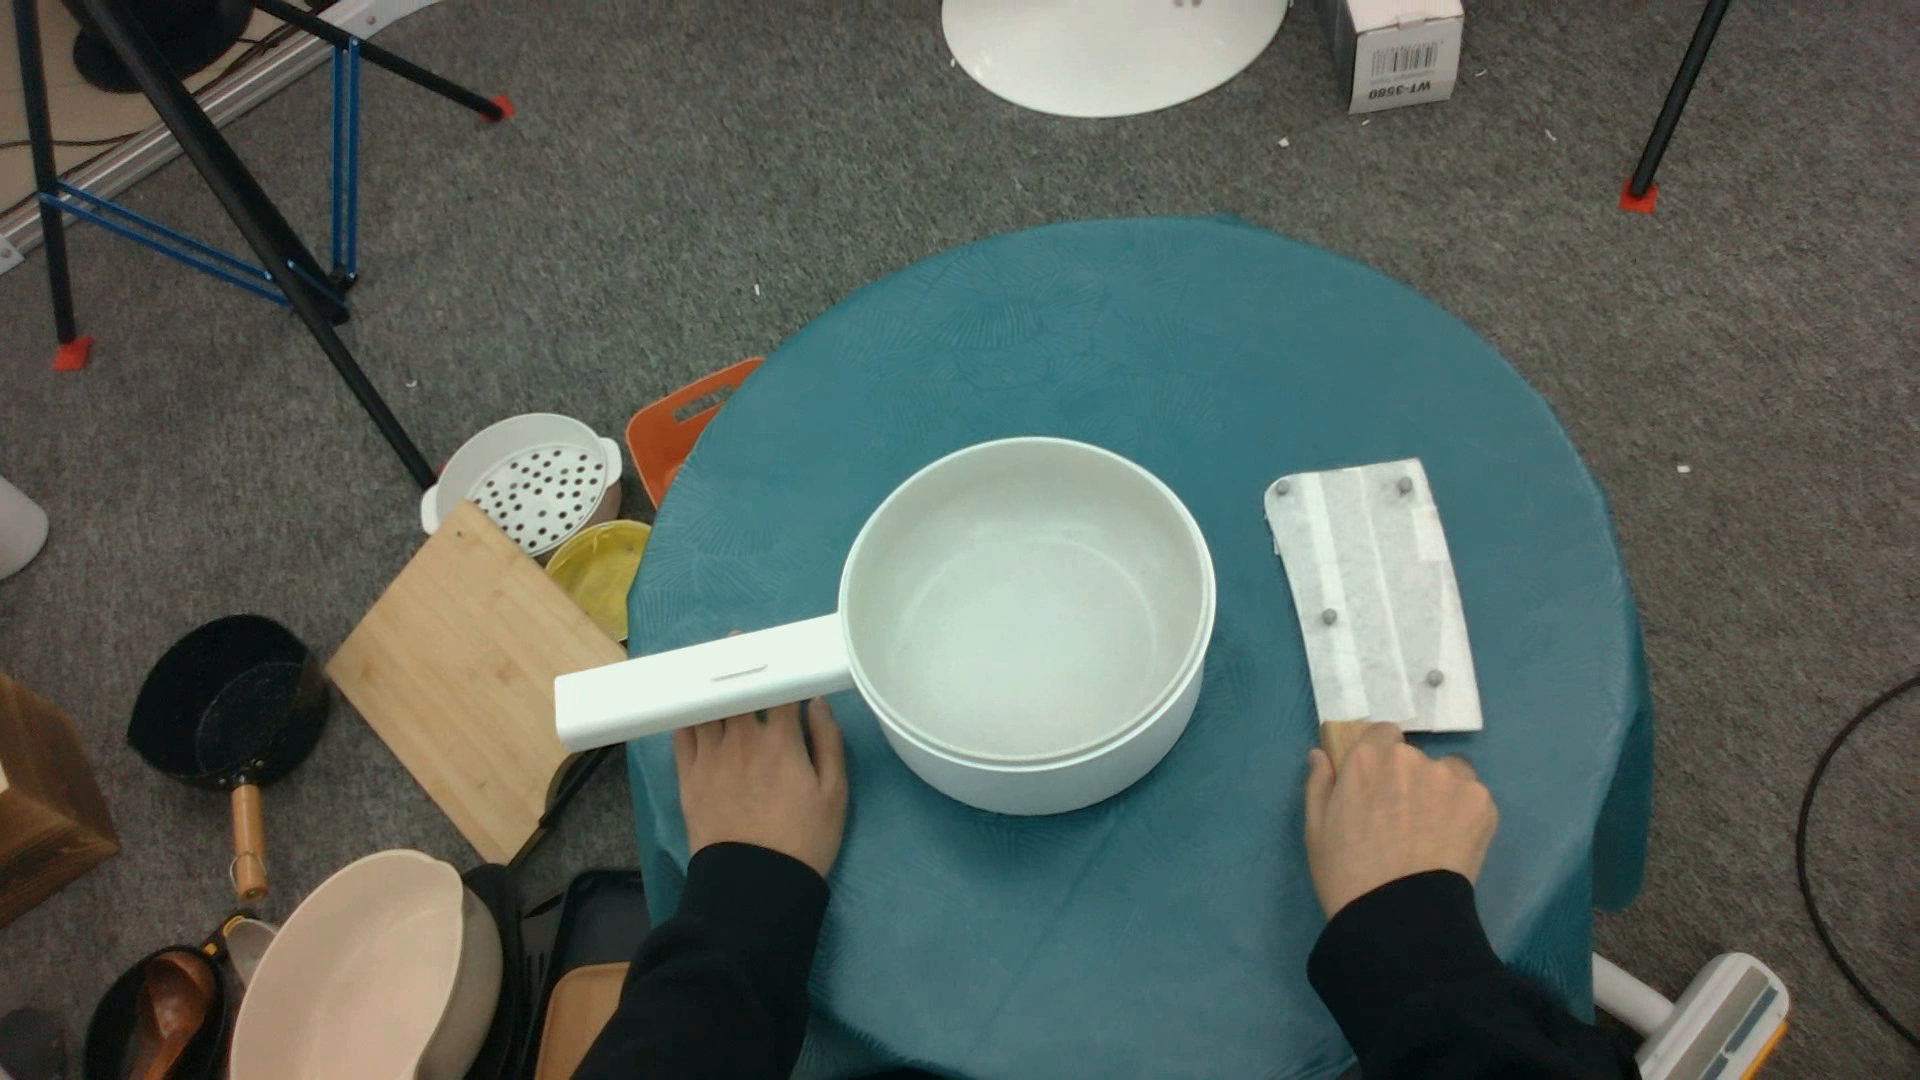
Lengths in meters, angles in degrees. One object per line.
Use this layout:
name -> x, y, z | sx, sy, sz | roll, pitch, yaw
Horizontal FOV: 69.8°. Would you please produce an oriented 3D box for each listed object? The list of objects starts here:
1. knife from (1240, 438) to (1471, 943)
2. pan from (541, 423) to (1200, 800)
knife -> 0.224, 0.068, 0.772 | 0.114, 0.021, 0.317 | -2, 55, 6
pan -> -0.044, 0.062, 0.767 | 0.355, 0.102, 0.202 | -14, 60, -1
